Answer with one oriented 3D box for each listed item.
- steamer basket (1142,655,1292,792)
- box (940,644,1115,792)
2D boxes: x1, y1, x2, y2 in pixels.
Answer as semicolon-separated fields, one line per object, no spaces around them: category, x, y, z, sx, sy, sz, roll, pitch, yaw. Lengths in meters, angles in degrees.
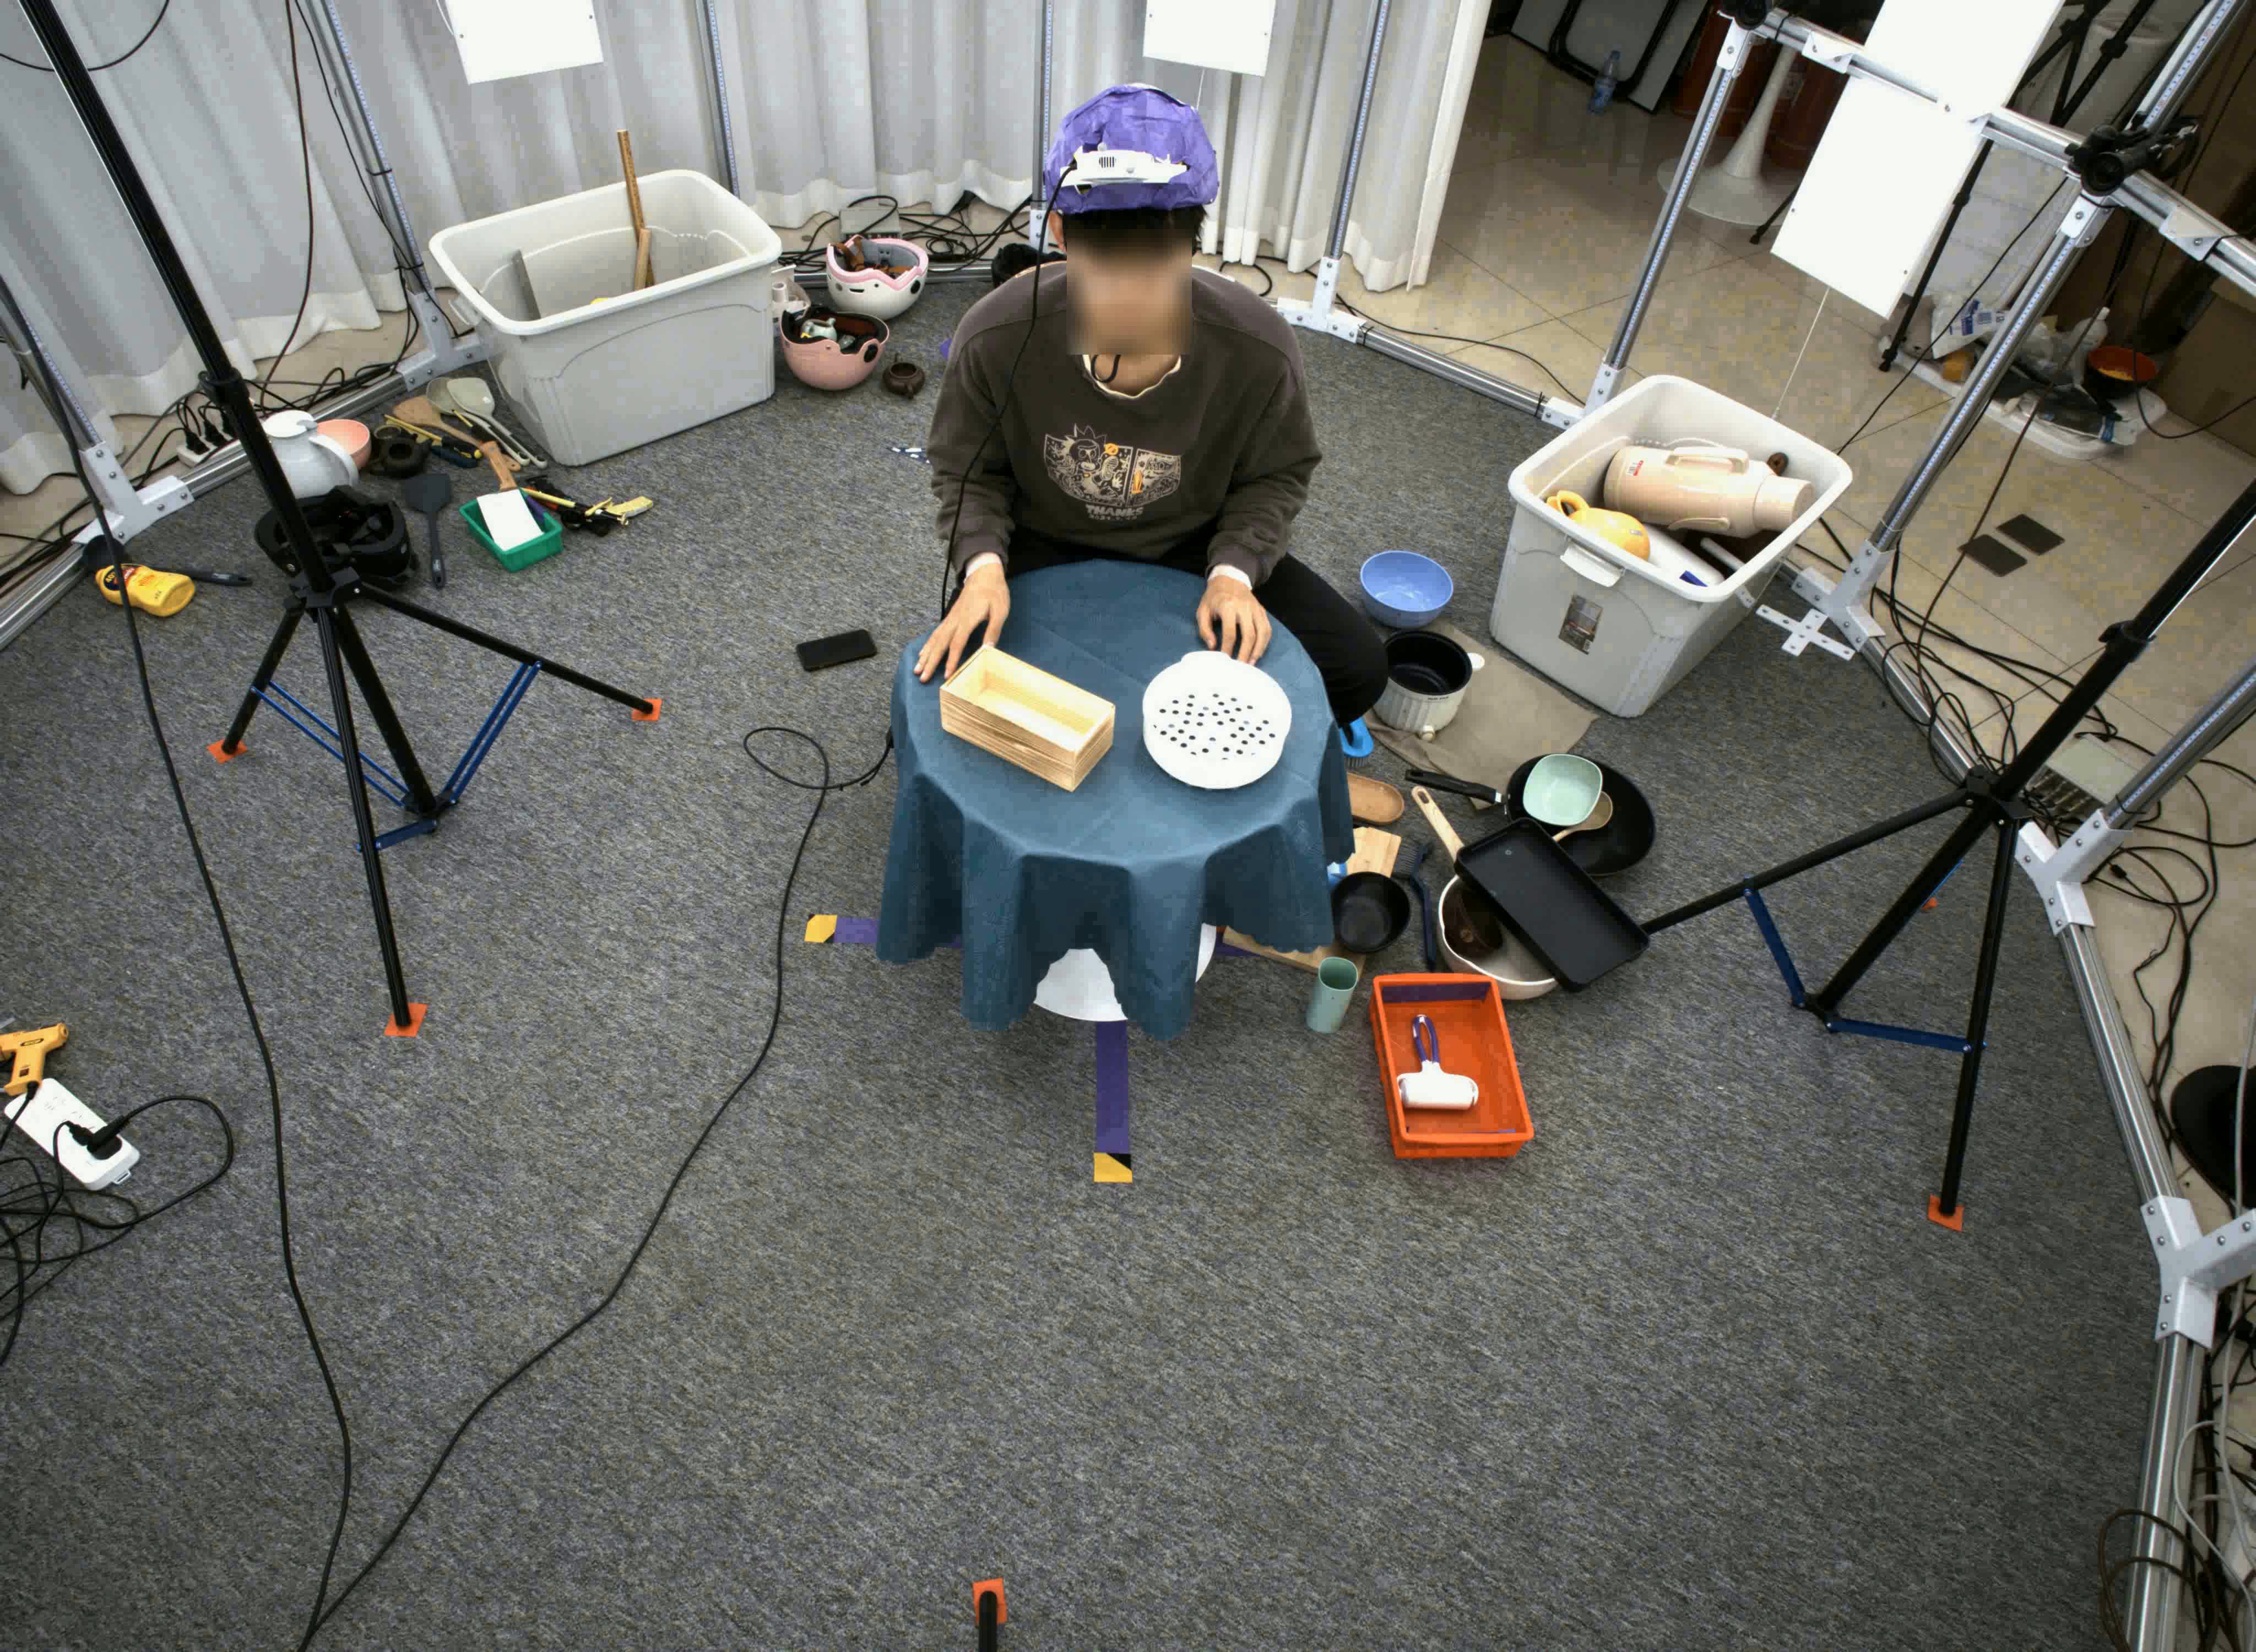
steamer basket;0.119;-0.136;1.747;0.201;0.067;0.236;-2;48;-6
box;-0.136;-0.148;1.734;0.213;0.078;0.109;26;52;18
